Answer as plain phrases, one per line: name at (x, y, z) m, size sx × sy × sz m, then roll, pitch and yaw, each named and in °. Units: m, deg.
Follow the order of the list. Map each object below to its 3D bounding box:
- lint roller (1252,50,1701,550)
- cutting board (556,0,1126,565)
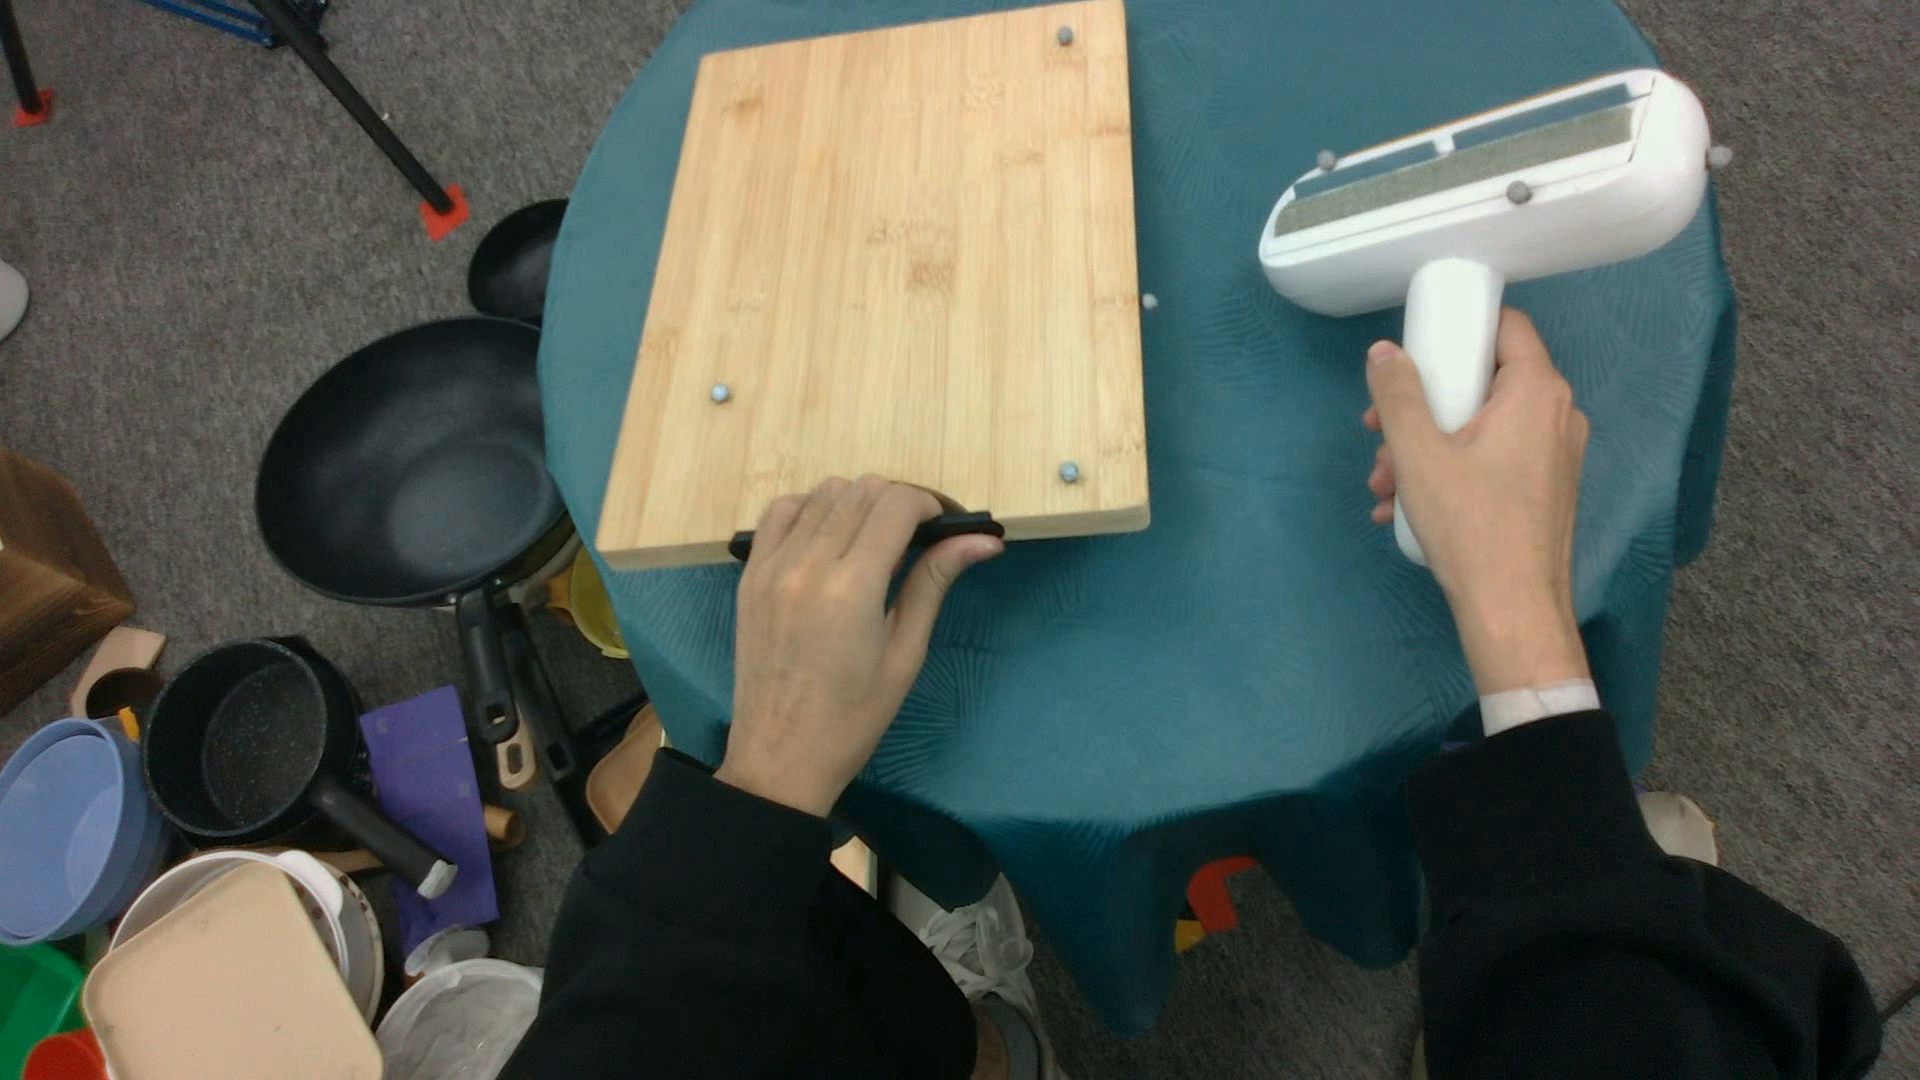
lint roller at (0.195, -0.093, 0.570) m, size 0.192 × 0.074 × 0.193 m, roll 6°, pitch 75°, yaw 50°
cutting board at (-0.047, -0.143, 0.673) m, size 0.250 × 0.023 × 0.350 m, roll -5°, pitch 55°, yaw 8°
